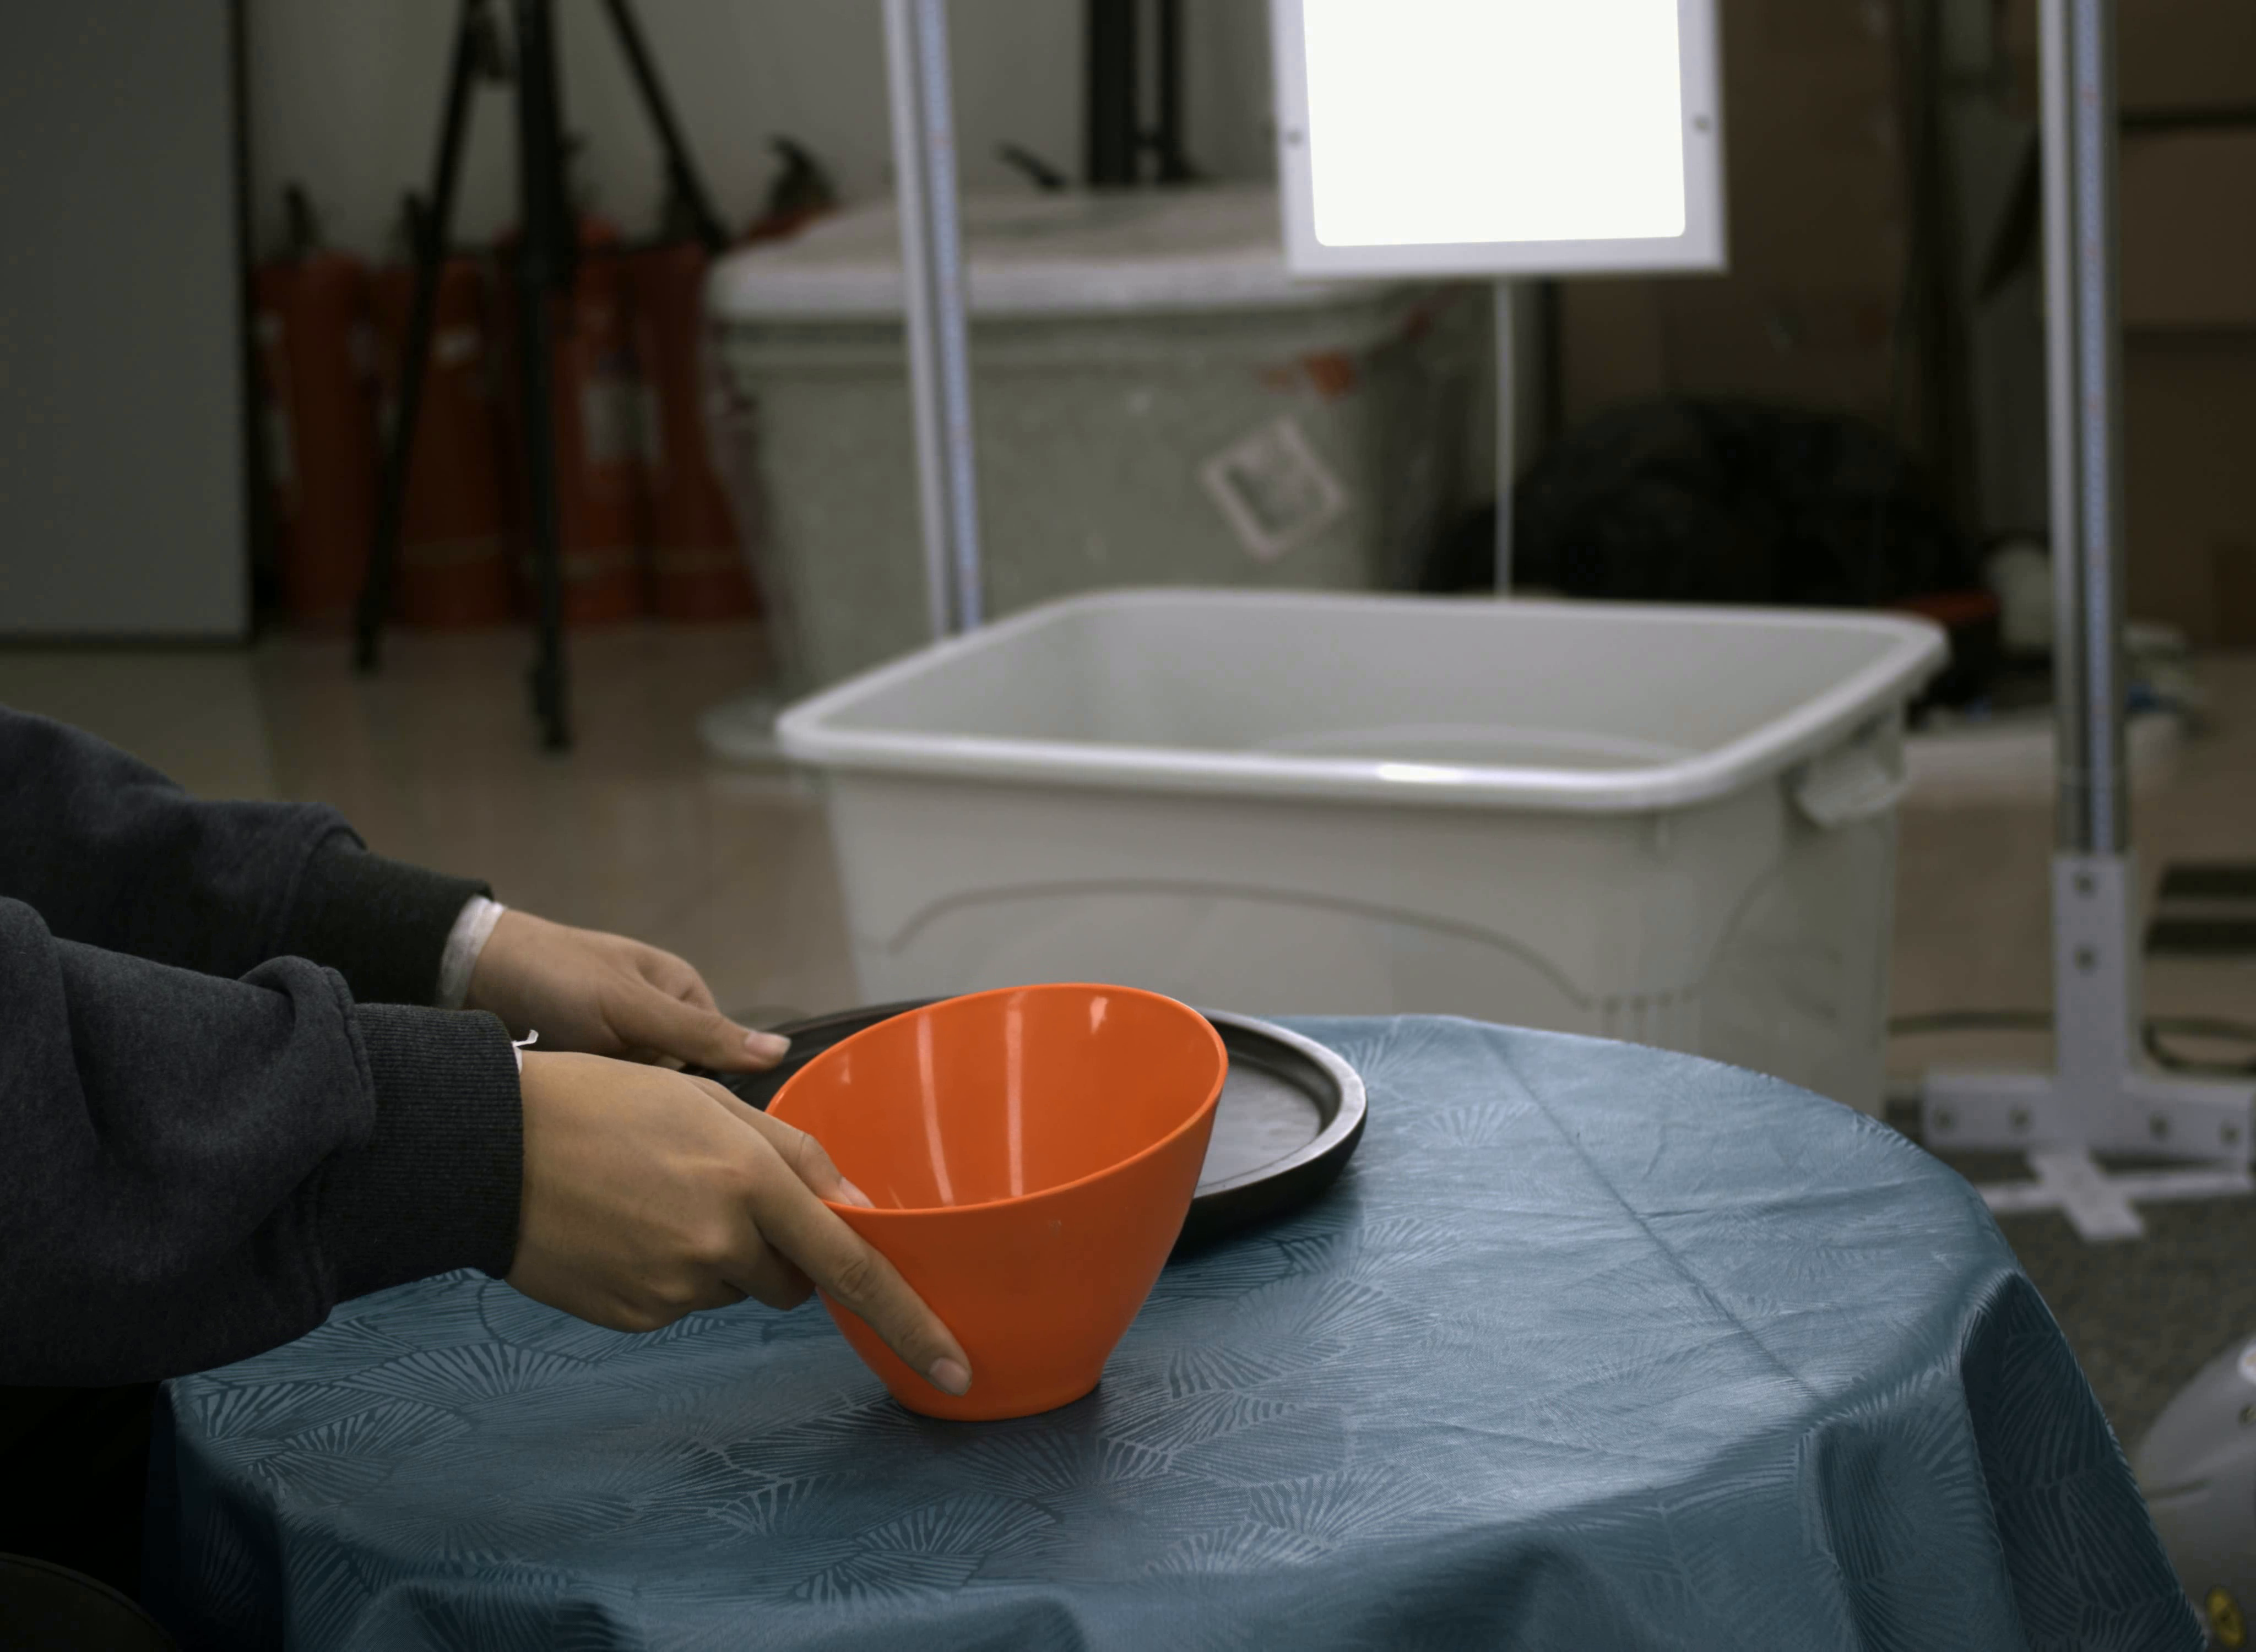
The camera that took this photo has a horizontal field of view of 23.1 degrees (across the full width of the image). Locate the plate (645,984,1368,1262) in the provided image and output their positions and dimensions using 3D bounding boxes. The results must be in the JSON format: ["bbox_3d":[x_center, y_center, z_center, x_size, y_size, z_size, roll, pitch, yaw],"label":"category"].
[{"bbox_3d":[-0.042,0.106,1.923,0.254,0.029,0.254,-2,17,-1],"label":"plate"}]

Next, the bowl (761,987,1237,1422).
[{"bbox_3d":[-0.039,0.121,1.710,0.147,0.105,0.148,-2,16,-1],"label":"bowl"}]
